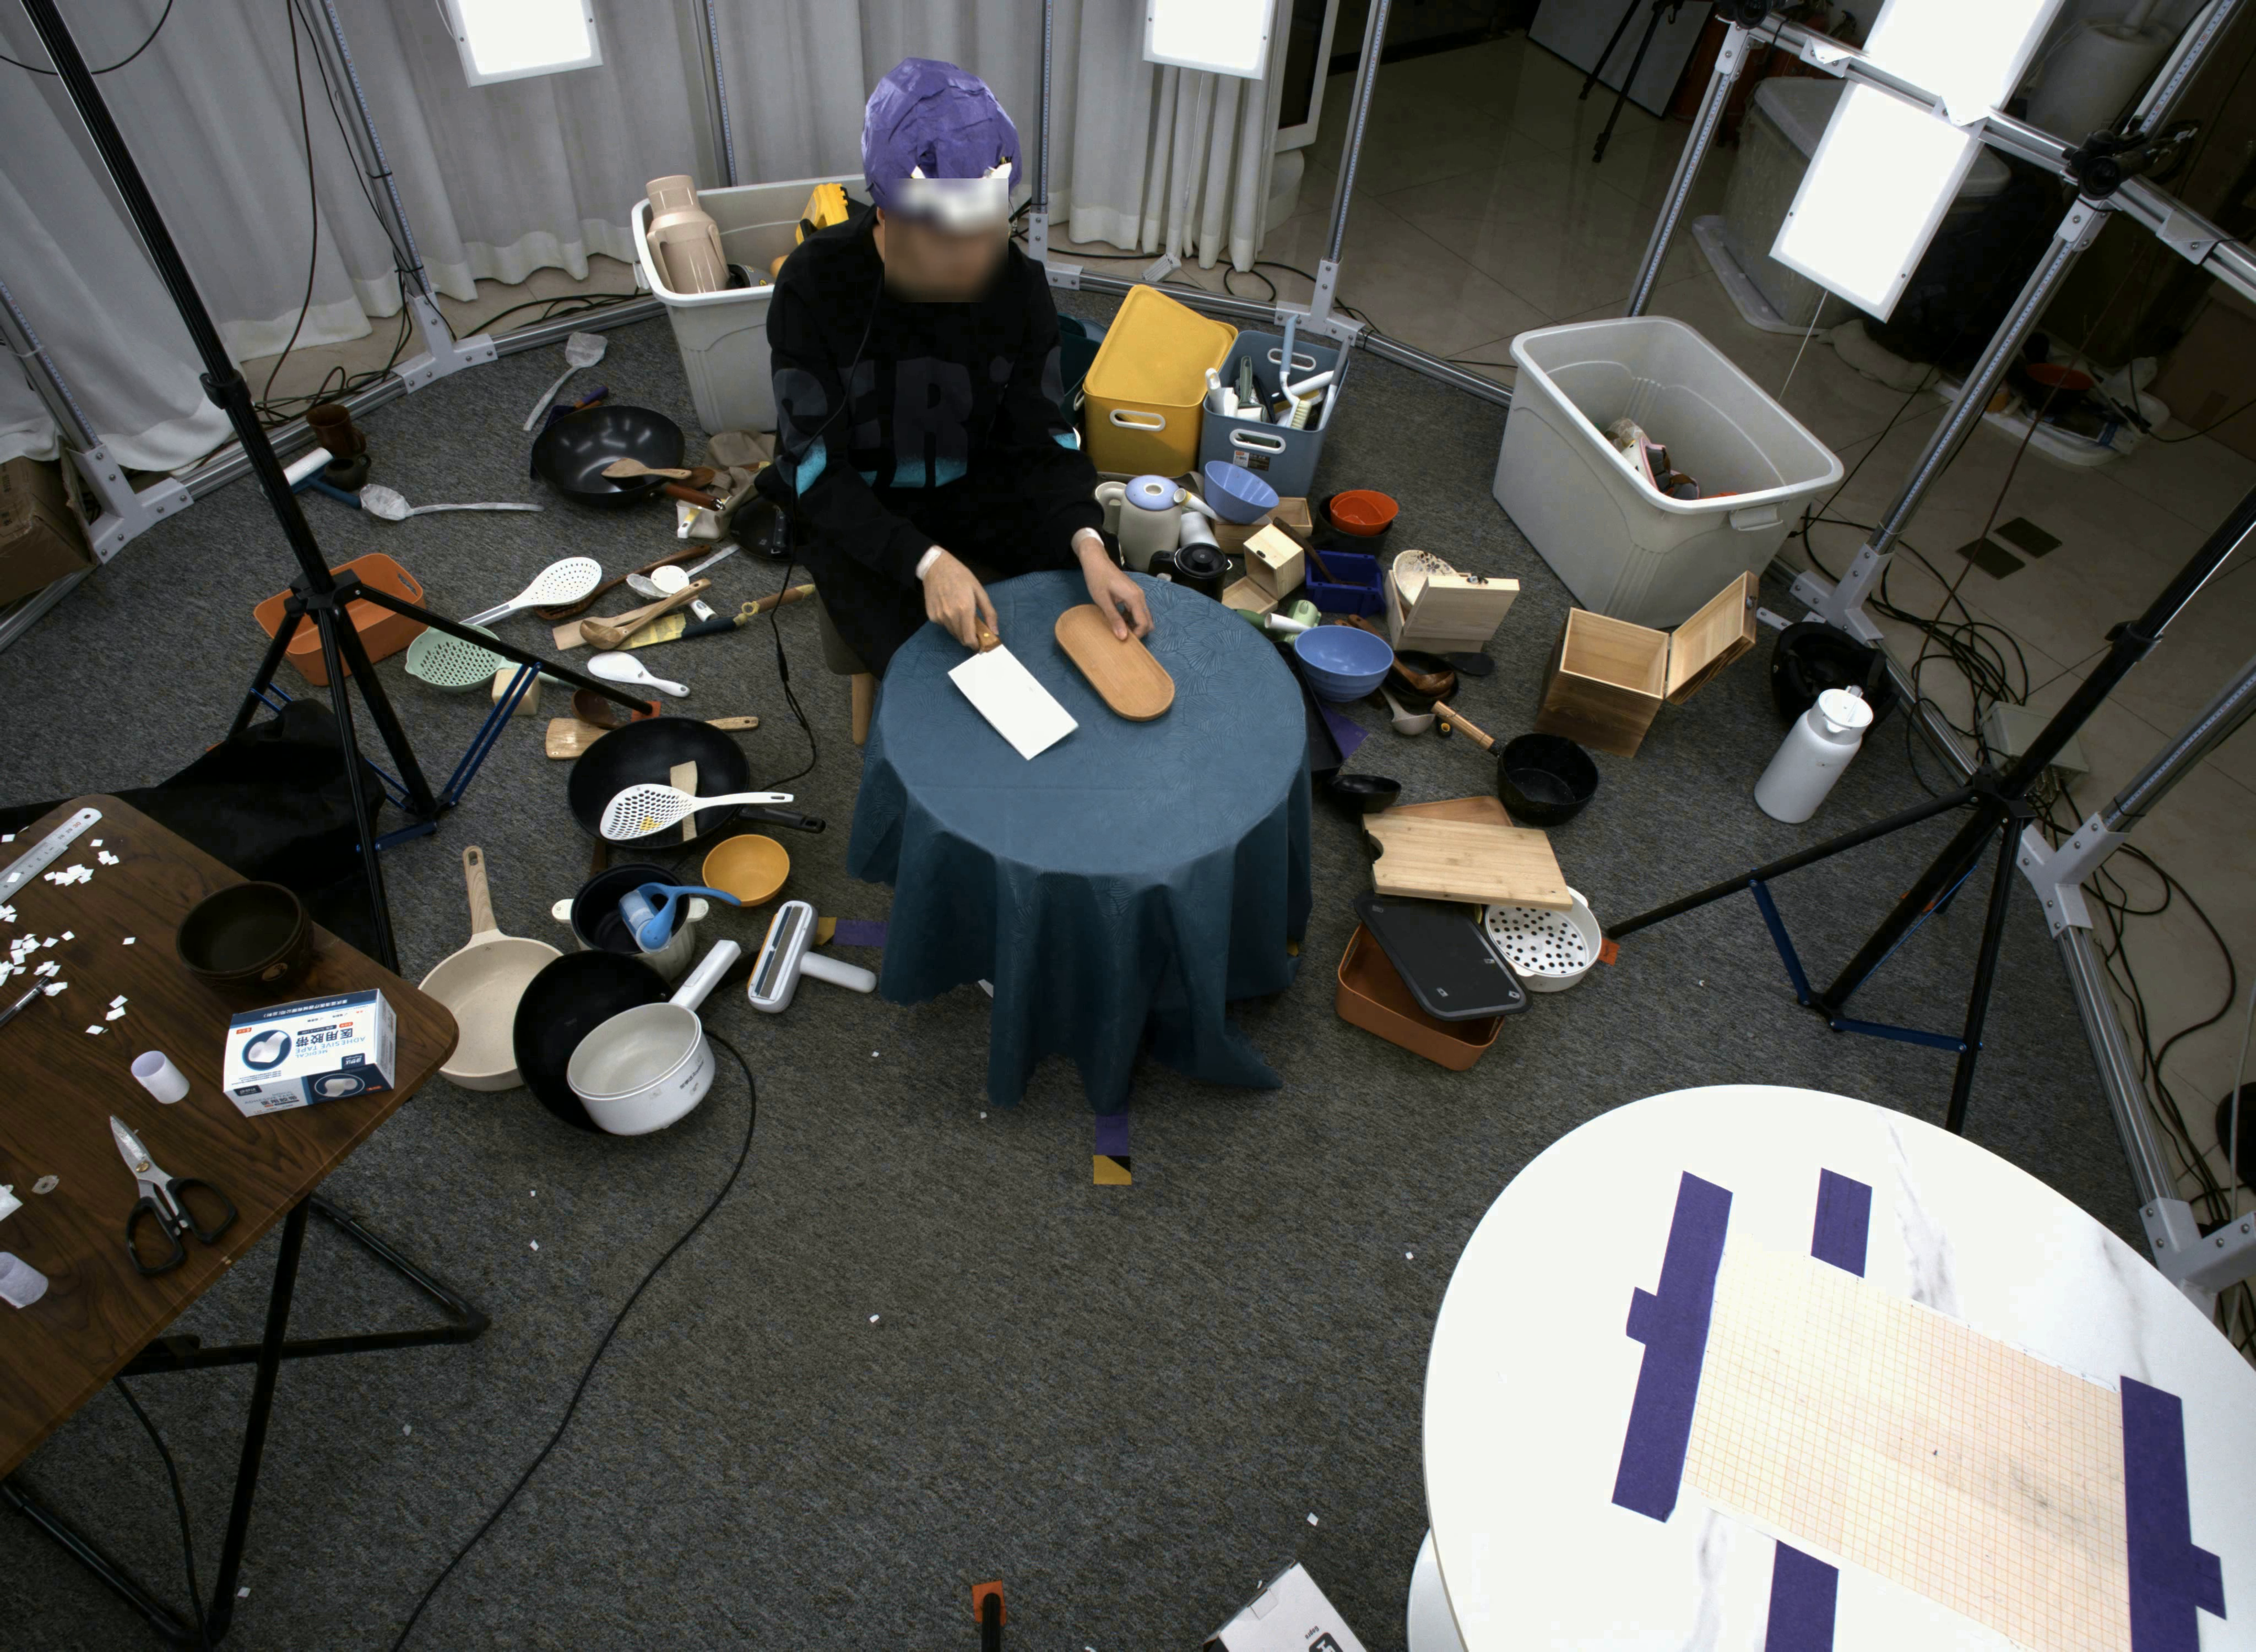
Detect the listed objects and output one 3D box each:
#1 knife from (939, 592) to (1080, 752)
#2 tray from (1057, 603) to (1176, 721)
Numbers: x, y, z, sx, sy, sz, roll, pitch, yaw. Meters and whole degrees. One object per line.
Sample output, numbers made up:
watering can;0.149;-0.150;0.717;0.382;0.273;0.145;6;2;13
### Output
knife;-0.190;-0.216;1.815;0.093;0.020;0.311;-33;64;-19
tray;-0.018;-0.239;1.852;0.102;0.020;0.236;-26;58;-19
